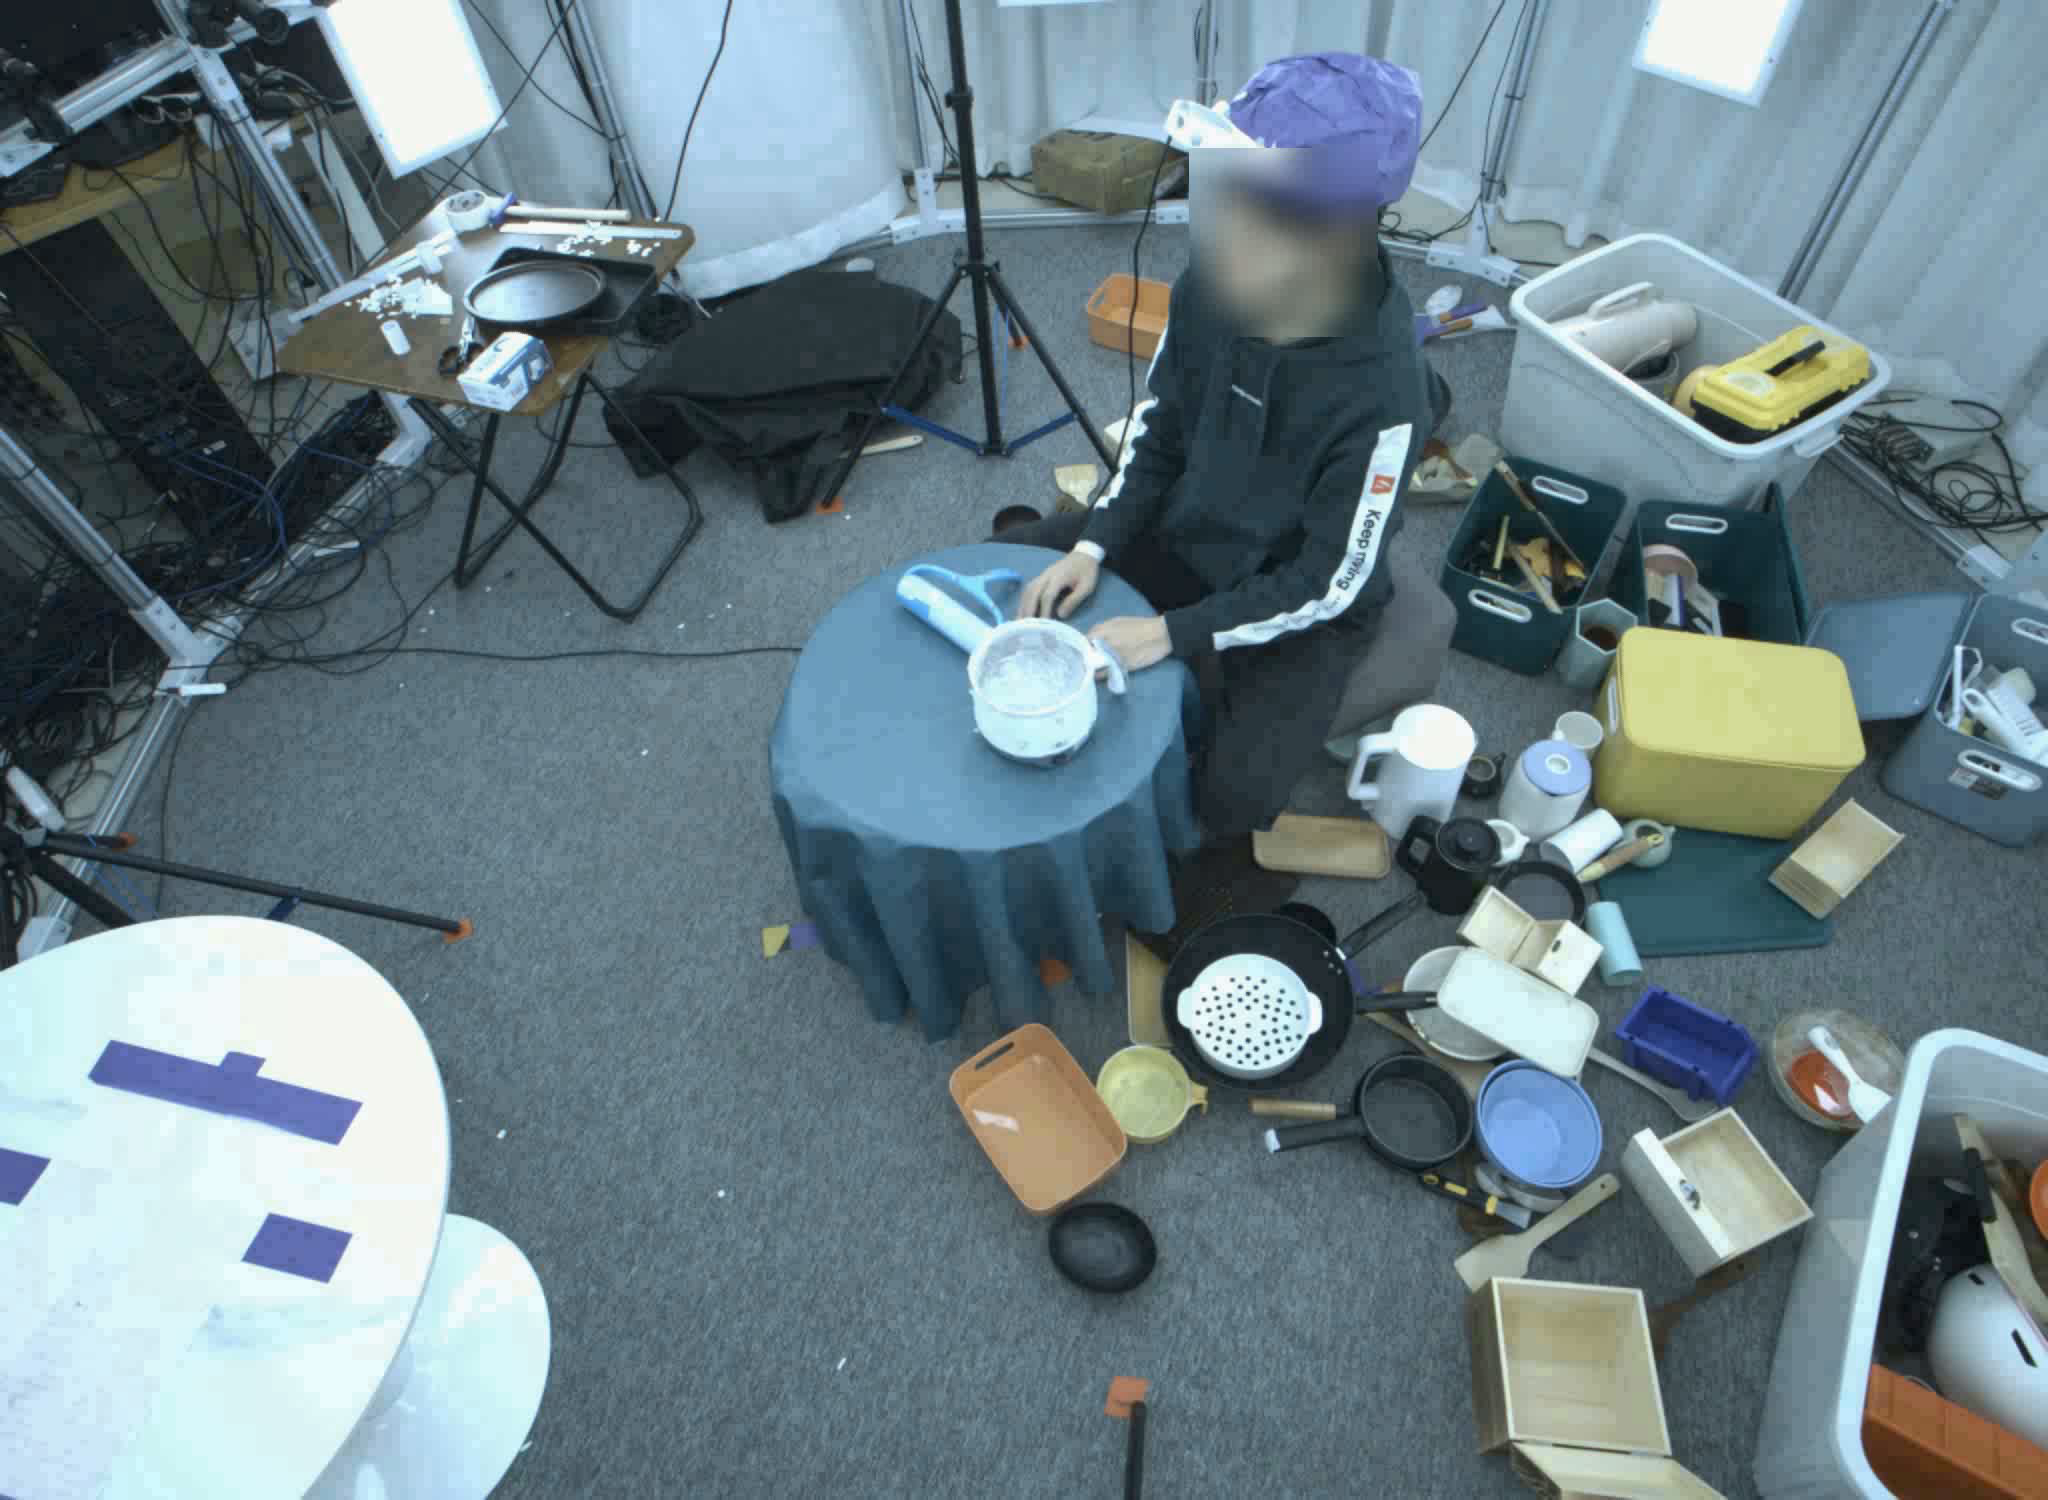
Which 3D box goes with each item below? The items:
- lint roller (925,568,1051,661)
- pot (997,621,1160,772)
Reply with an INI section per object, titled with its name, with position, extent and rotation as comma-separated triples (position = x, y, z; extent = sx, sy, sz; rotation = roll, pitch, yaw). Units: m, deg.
[lint roller]
position = -0.030, -0.237, 1.918
extent = 0.225, 0.069, 0.181
rotation = 34, 64, 25
[pot]
position = 0.082, -0.084, 1.752
extent = 0.235, 0.138, 0.175
rotation = -20, 56, -9
